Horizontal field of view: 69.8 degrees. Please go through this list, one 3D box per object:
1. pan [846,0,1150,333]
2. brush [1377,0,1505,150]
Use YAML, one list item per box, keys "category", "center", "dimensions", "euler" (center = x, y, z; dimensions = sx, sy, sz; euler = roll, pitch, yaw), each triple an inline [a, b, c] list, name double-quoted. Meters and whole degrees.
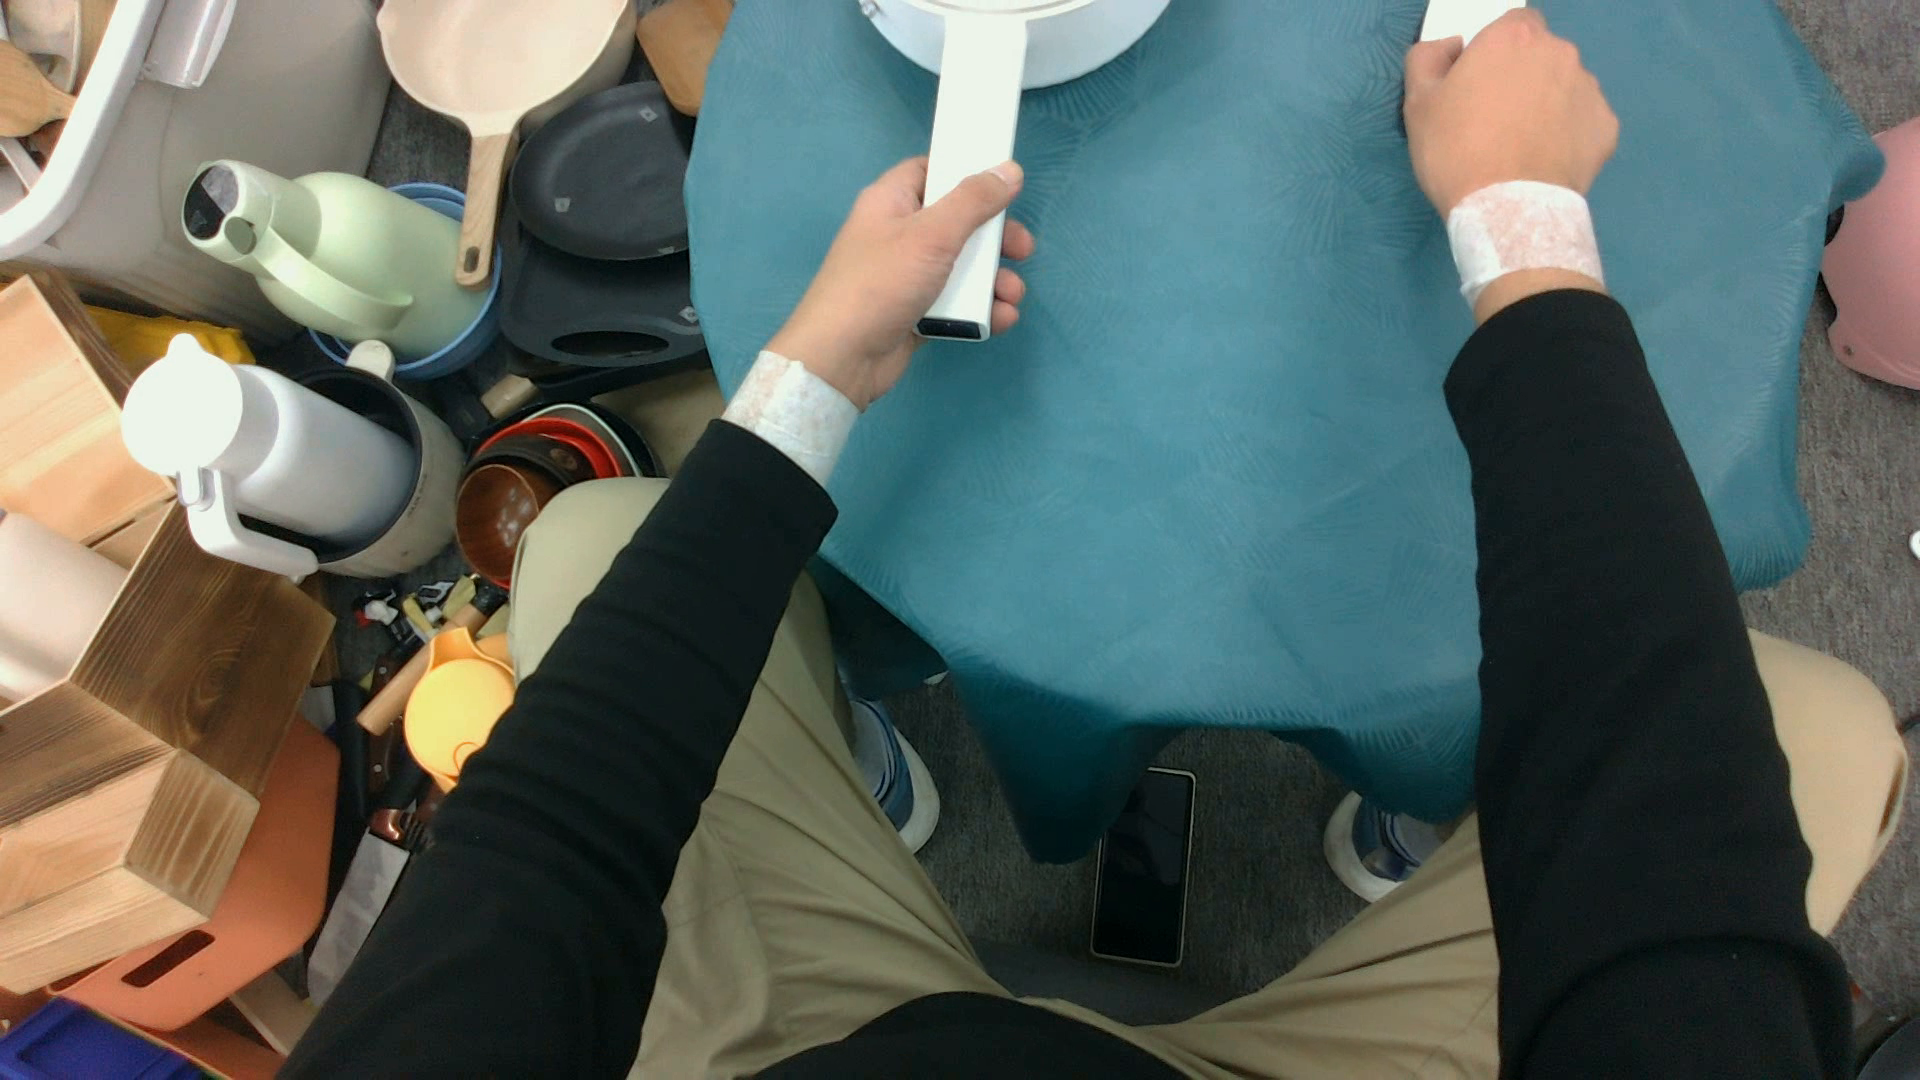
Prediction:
- category: "pan"
  center: [0.011, -0.272, 0.725]
  dimensions: [0.201, 0.102, 0.355]
  euler: [6, 80, 4]
- category: "brush"
  center: [0.254, -0.262, 0.710]
  dimensions: [0.050, 0.072, 0.099]
  euler: [16, 83, 2]
